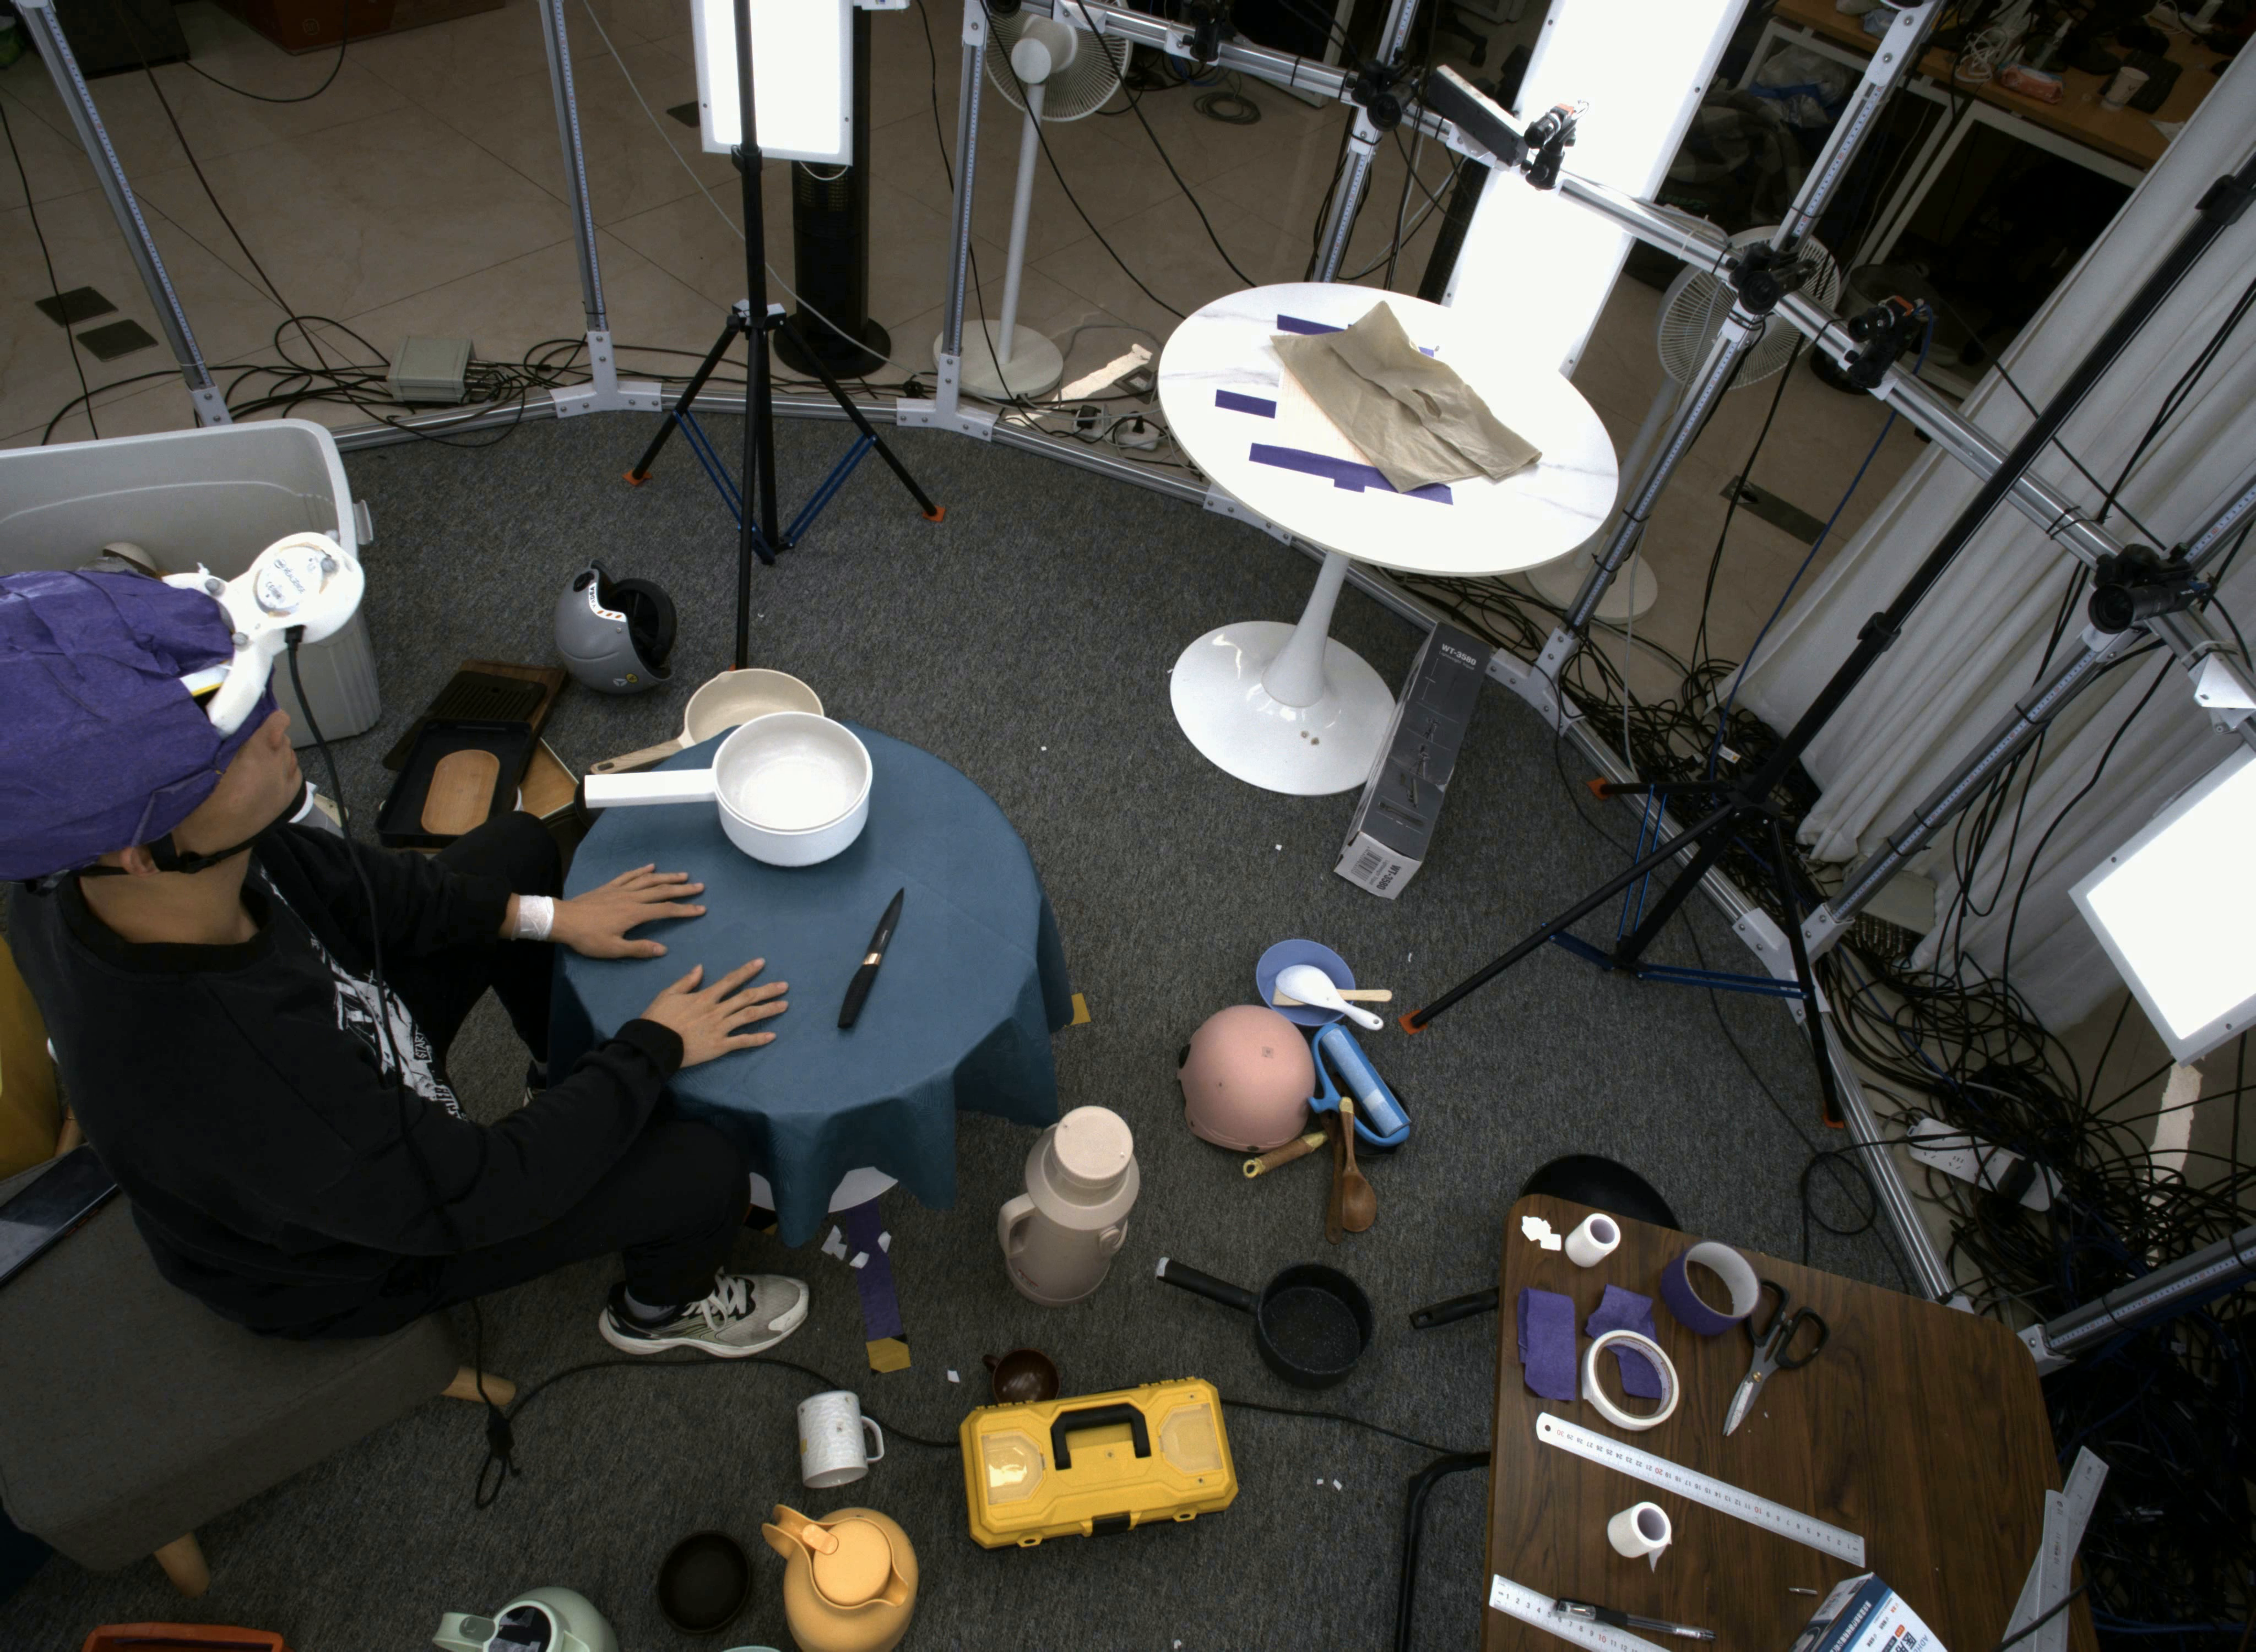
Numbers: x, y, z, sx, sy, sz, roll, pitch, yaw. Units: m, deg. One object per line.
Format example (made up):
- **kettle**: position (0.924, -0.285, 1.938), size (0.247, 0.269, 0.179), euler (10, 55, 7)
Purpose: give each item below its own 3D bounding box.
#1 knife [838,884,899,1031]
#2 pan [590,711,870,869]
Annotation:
- **knife**: position (-0.319, 0.157, 1.626), size (0.025, 0.018, 0.222), euler (7, 50, 11)
- **pan**: position (-0.510, -0.036, 1.665), size (0.356, 0.104, 0.197), euler (-5, 57, -17)
